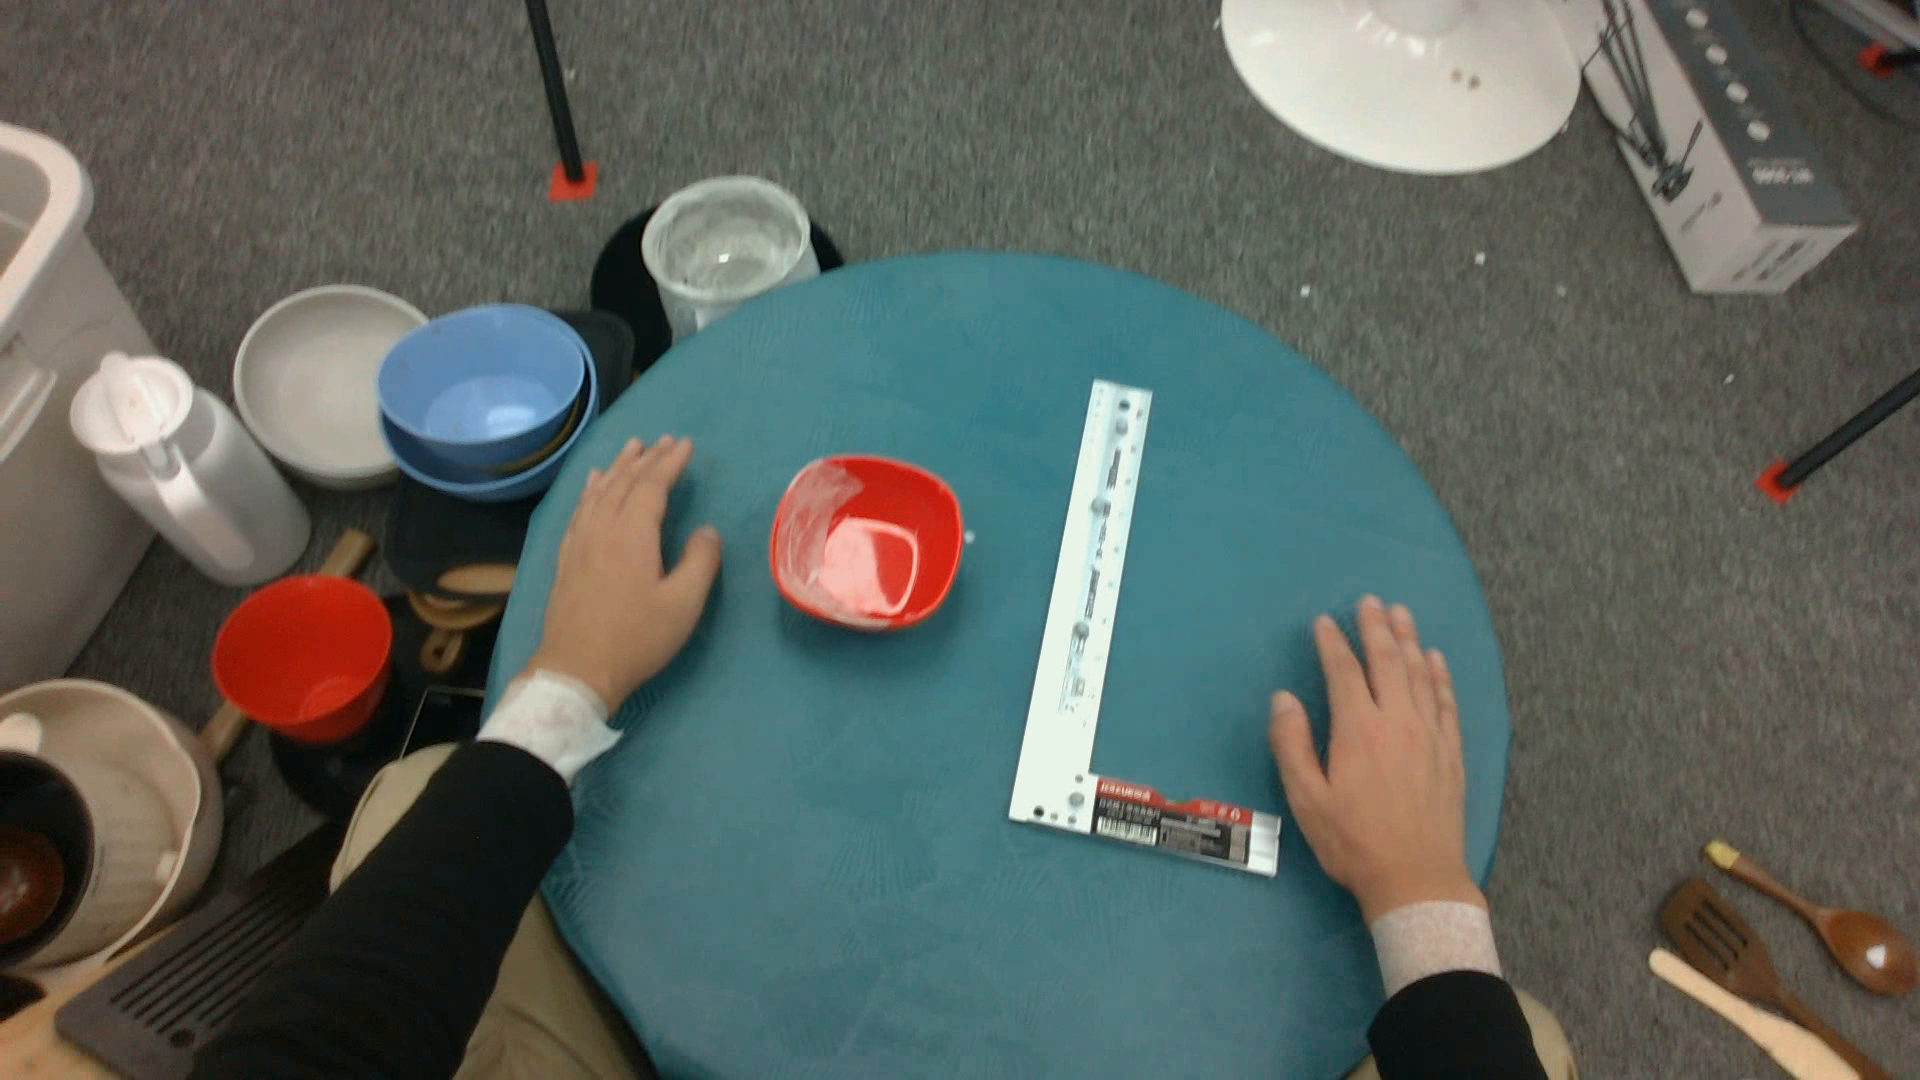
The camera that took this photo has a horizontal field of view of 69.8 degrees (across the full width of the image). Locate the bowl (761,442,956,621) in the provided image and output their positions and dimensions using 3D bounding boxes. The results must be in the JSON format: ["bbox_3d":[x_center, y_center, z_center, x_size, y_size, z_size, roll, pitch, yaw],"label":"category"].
[{"bbox_3d":[-0.060,0.003,0.812,0.119,0.051,0.119,3,63,-6],"label":"bowl"}]

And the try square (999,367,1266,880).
[{"bbox_3d":[0.124,0.038,0.840,0.152,0.016,0.314,14,62,-2],"label":"try square"}]
